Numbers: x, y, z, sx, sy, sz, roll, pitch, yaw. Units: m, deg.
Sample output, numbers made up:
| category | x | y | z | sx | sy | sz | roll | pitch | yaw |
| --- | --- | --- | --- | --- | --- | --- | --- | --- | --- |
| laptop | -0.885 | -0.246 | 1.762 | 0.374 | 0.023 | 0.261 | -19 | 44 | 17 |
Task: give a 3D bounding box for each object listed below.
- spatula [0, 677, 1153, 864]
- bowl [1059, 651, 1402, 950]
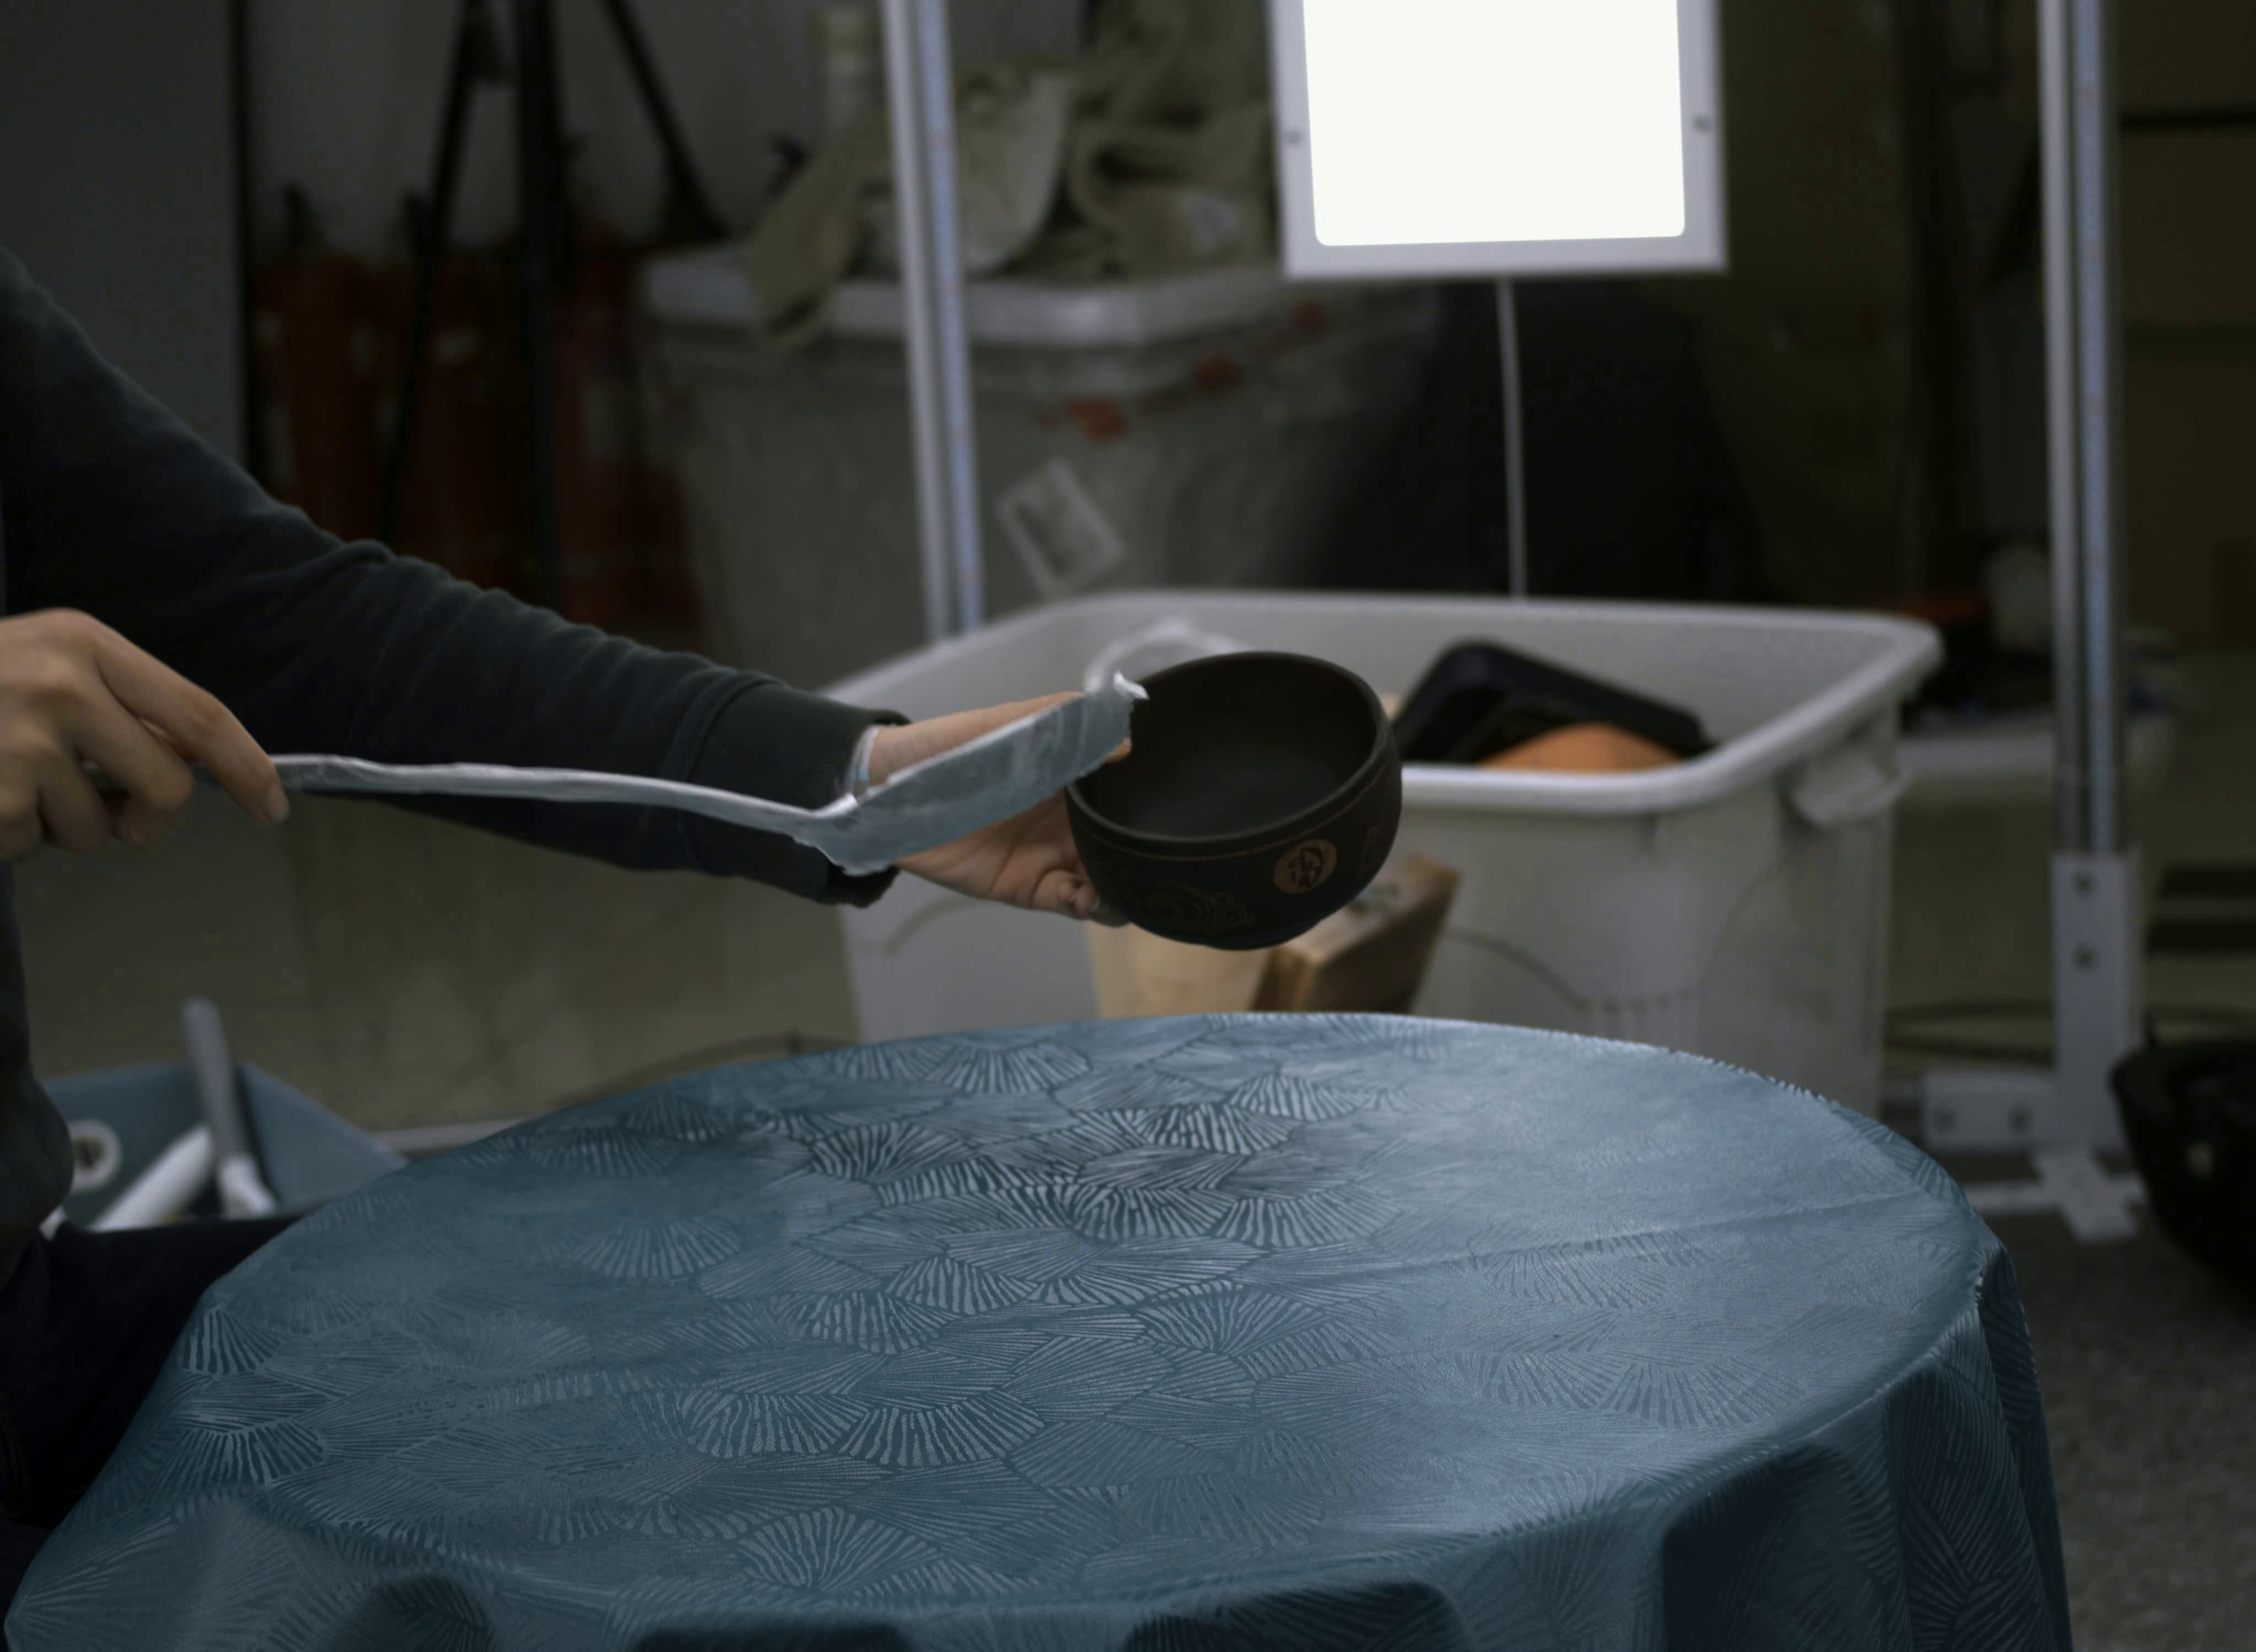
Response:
| category | x | y | z | sx | sy | sz | roll | pitch | yaw |
| --- | --- | --- | --- | --- | --- | --- | --- | --- | --- |
| spatula | -0.170 | -0.014 | 1.626 | 0.360 | 0.045 | 0.100 | 1 | -18 | -12 |
| bowl | 0.039 | -0.001 | 1.902 | 0.118 | 0.070 | 0.118 | -11 | 32 | 5 |
